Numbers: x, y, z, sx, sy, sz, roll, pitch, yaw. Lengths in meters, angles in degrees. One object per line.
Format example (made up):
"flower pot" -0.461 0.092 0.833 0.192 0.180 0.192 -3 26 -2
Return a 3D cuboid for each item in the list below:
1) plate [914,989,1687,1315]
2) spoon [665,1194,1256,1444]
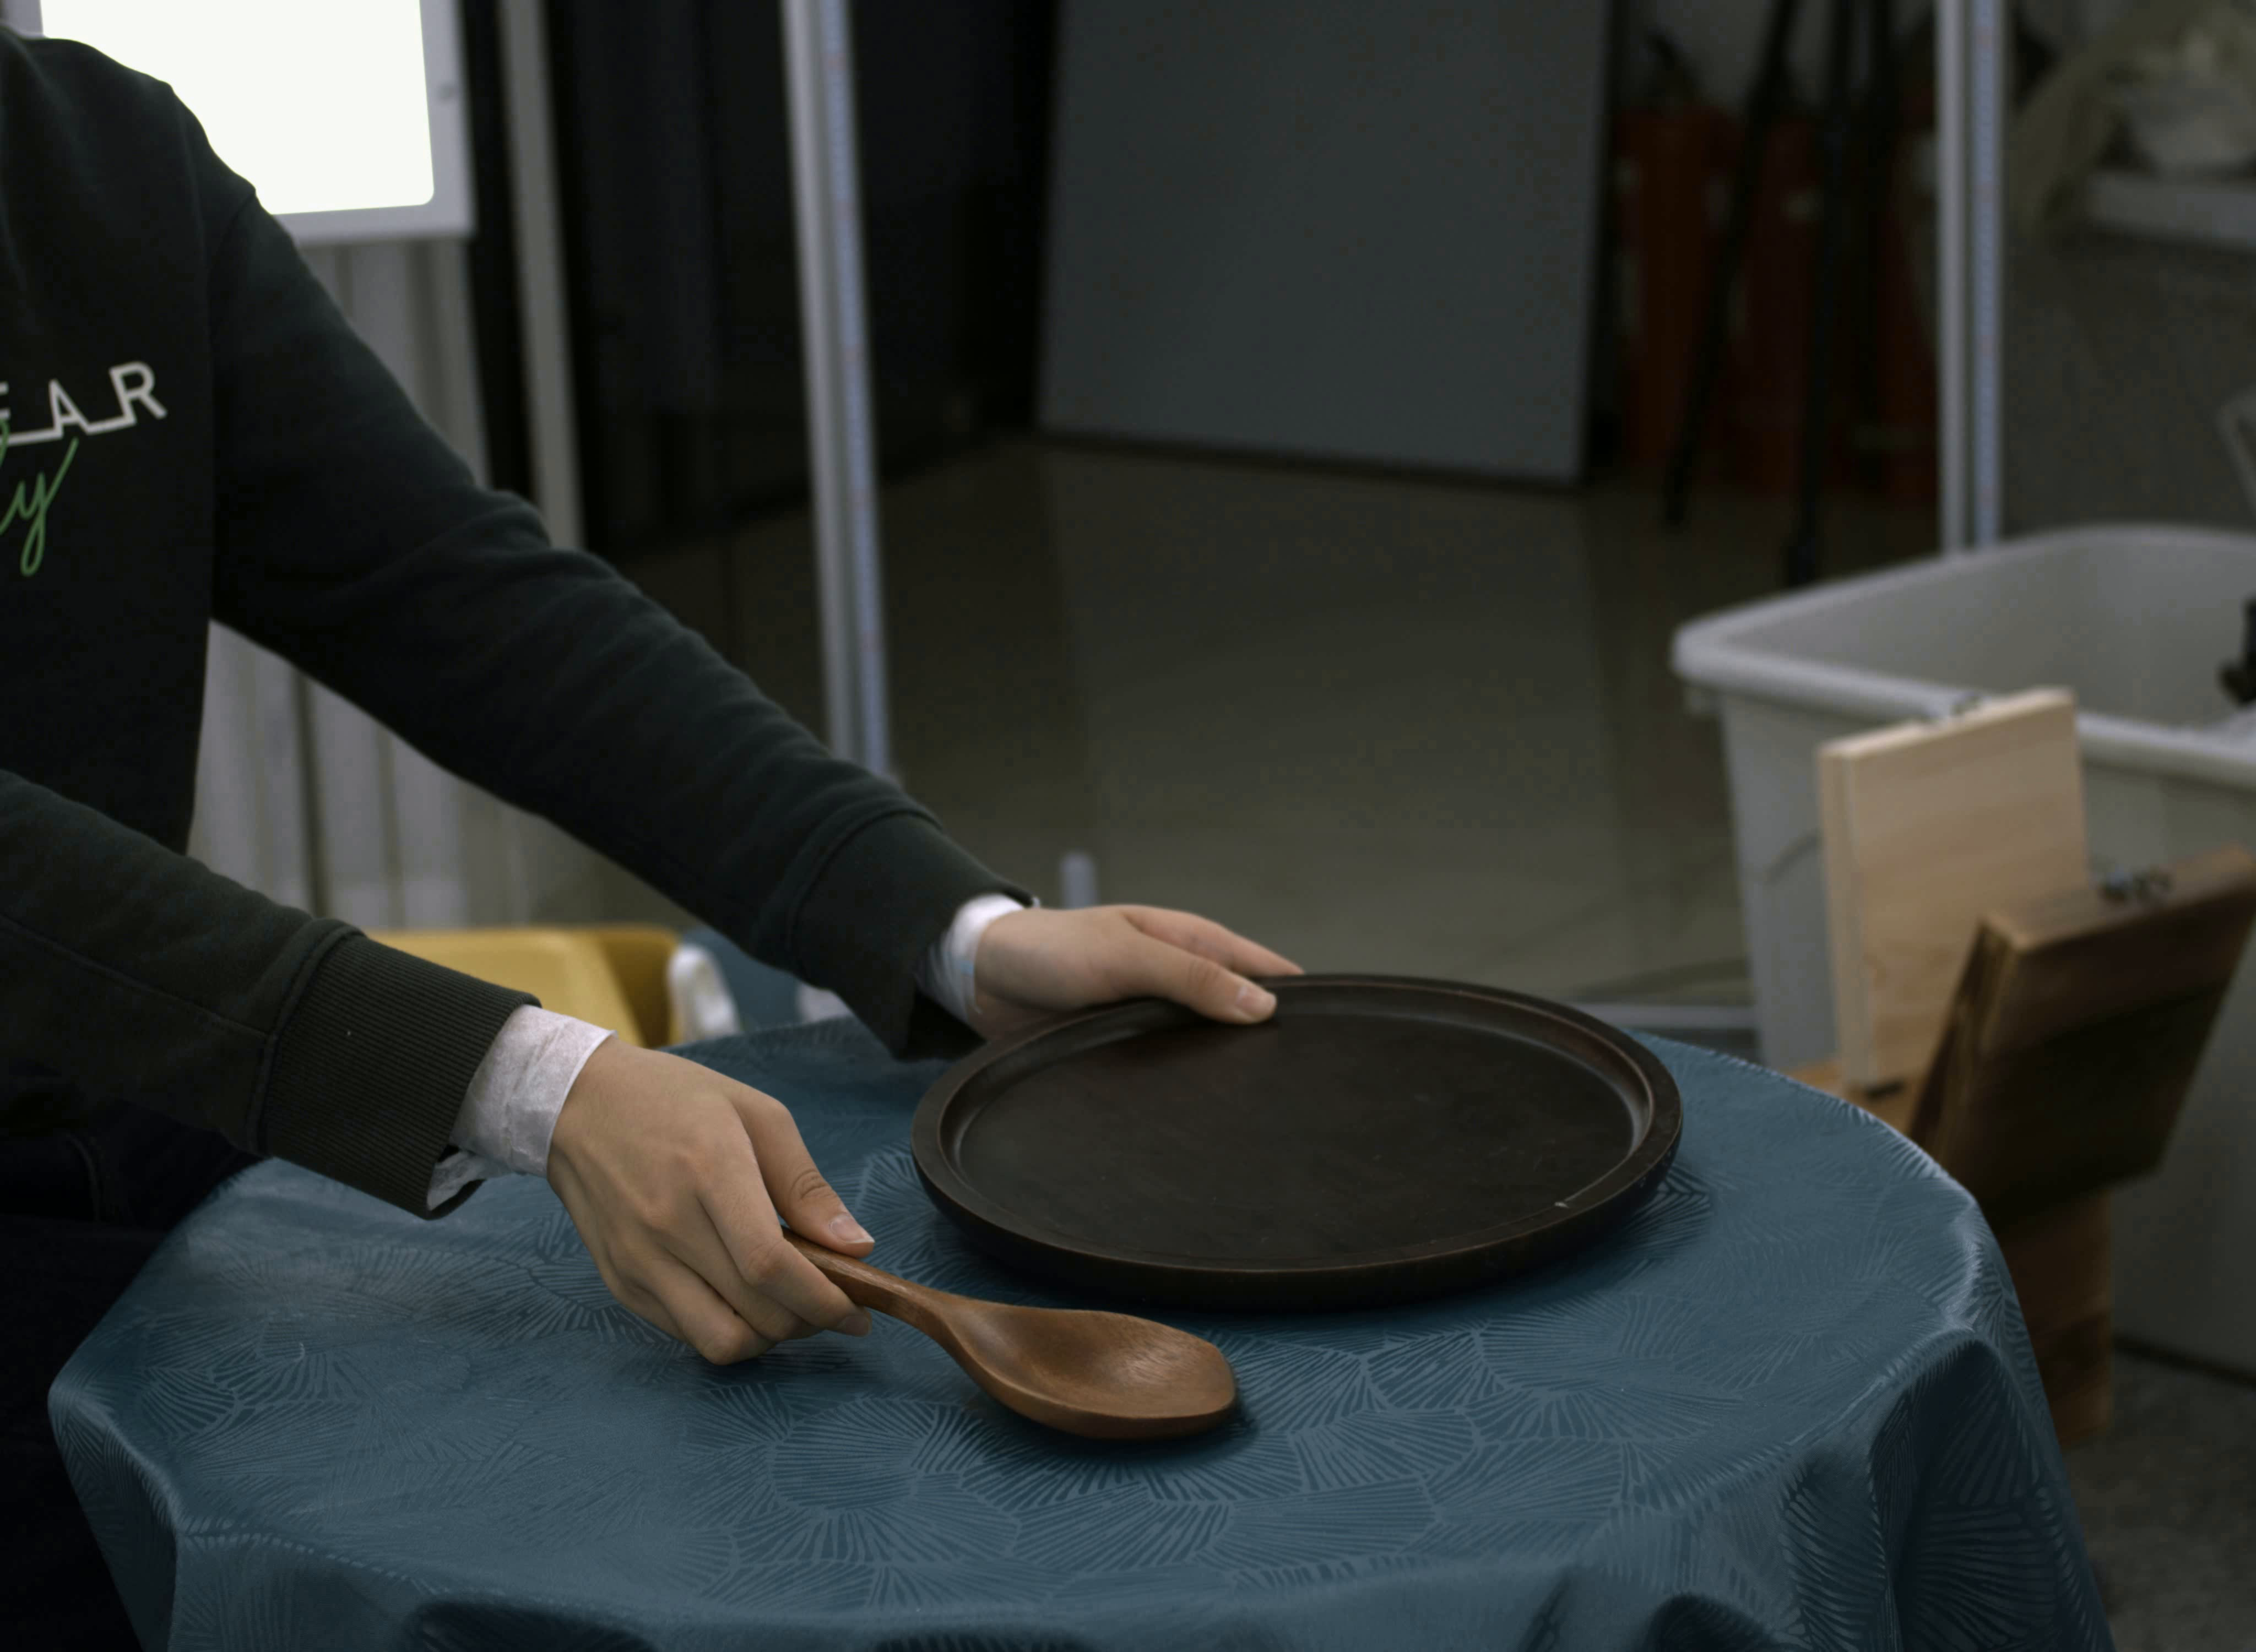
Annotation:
"plate" 0.055 0.103 1.745 0.251 0.029 0.255 -2 18 0
"spoon" -0.054 0.146 1.601 0.217 0.017 0.074 18 22 36
